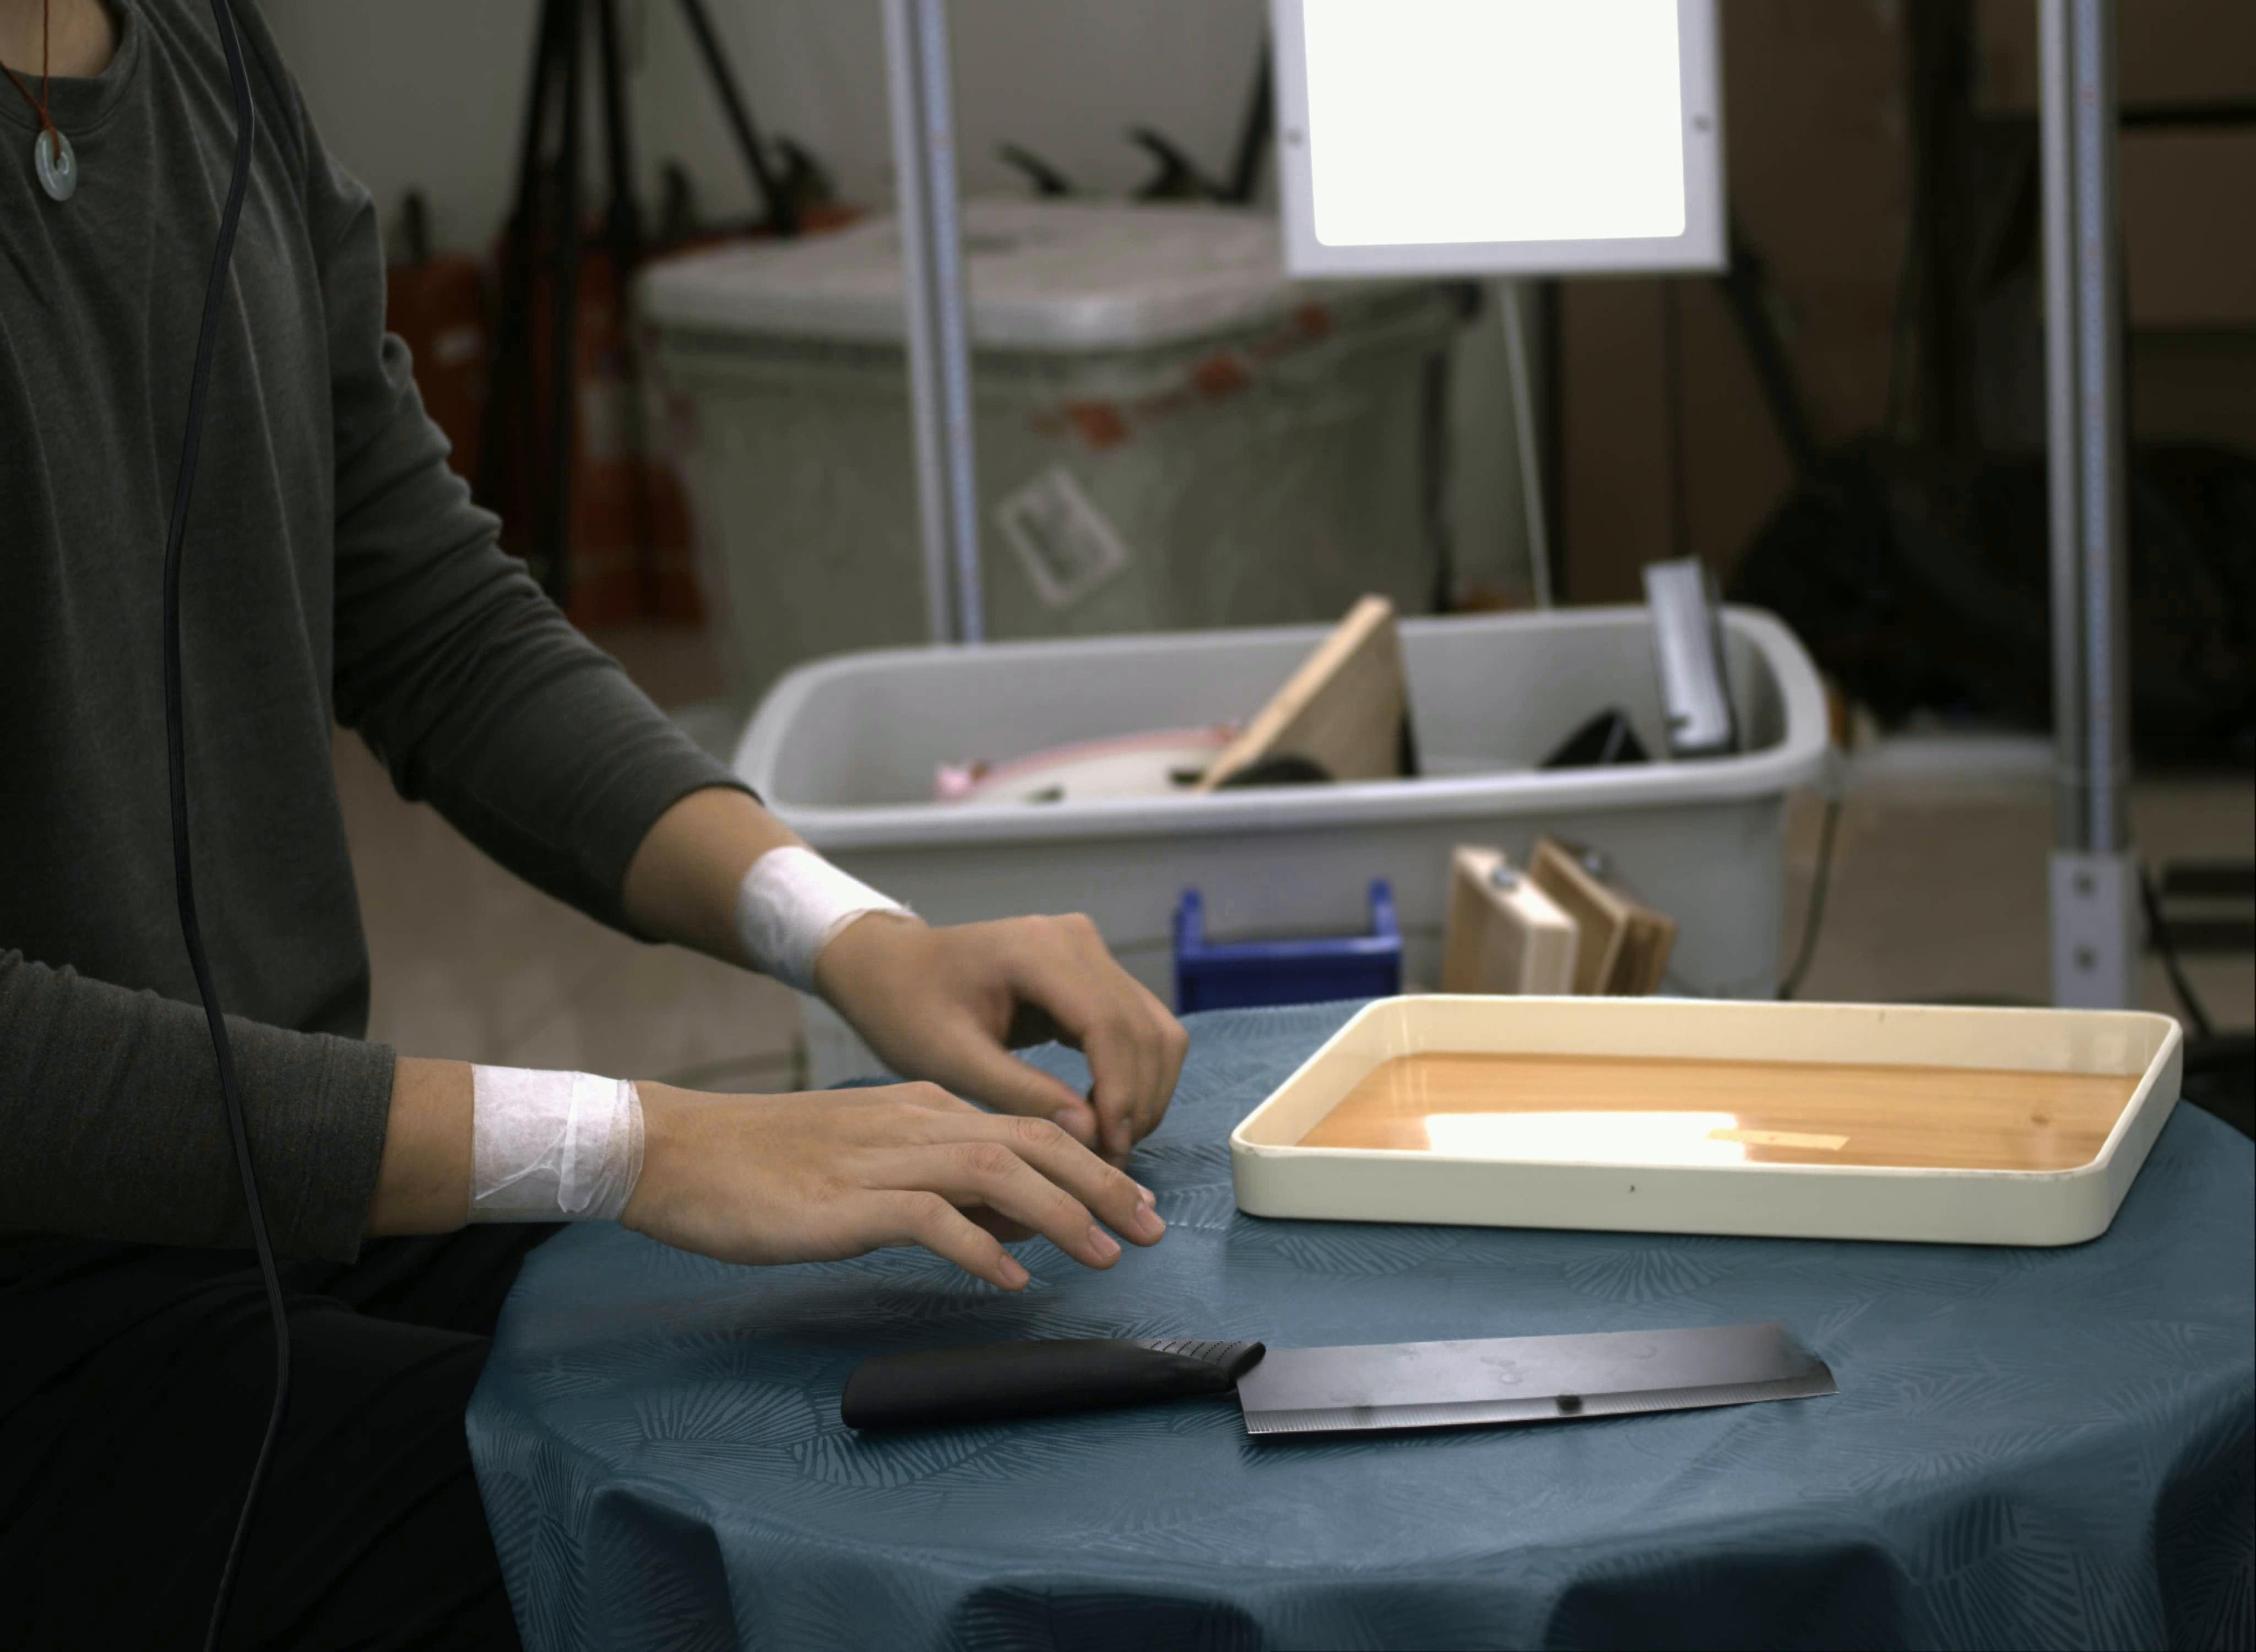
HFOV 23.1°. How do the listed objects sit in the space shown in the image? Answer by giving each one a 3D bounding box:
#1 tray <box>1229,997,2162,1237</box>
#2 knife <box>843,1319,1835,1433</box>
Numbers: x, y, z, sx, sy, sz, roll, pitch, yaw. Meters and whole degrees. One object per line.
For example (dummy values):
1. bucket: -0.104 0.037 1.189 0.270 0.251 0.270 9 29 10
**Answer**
1. tray: 0.202 0.098 1.887 0.304 0.027 0.188 0 14 22
2. knife: 0.064 0.169 1.676 0.302 0.021 0.080 -2 15 4
